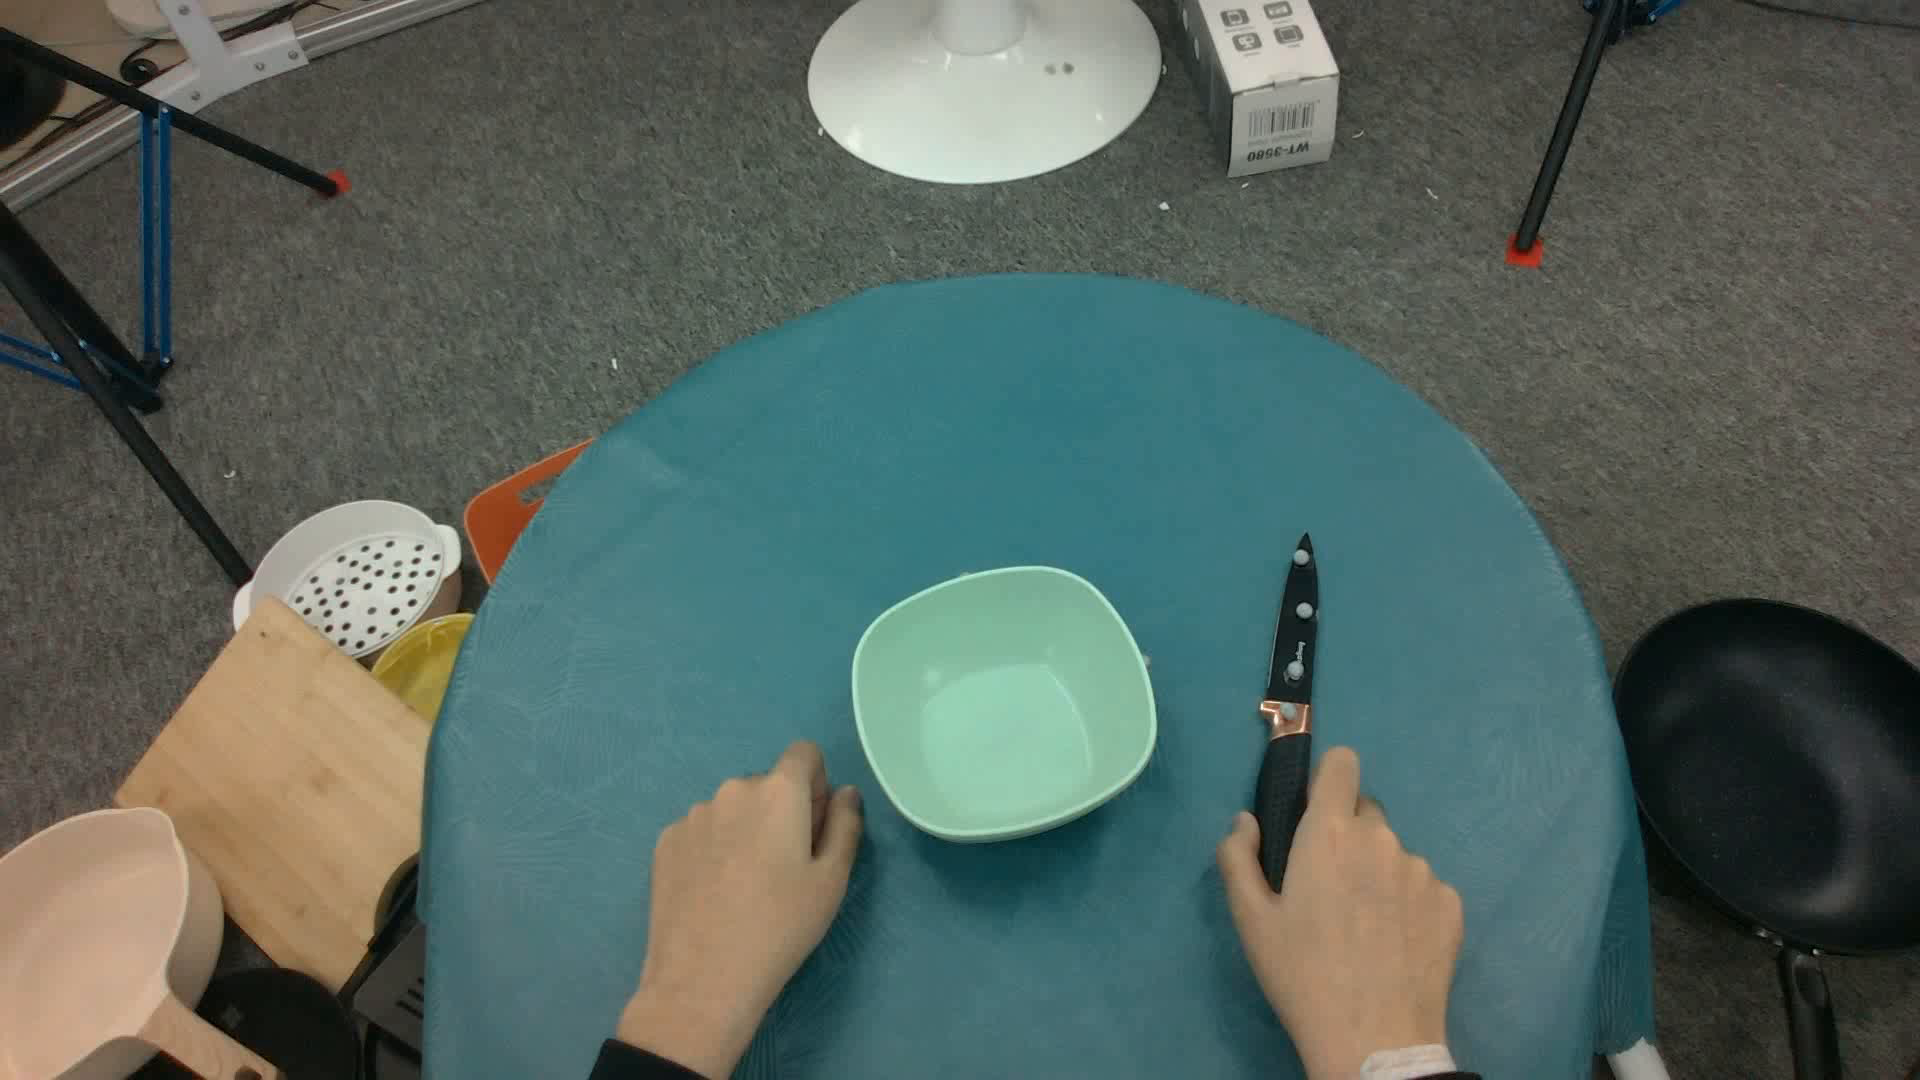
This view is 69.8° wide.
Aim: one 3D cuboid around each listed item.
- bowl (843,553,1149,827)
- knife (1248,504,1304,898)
[{"bbox_3d":[0.017,0.081,0.668,0.151,0.058,0.152,-1,54,2],"label":"bowl"},{"bbox_3d":[0.159,0.071,0.690,0.026,0.017,0.226,0,53,16],"label":"knife"}]
